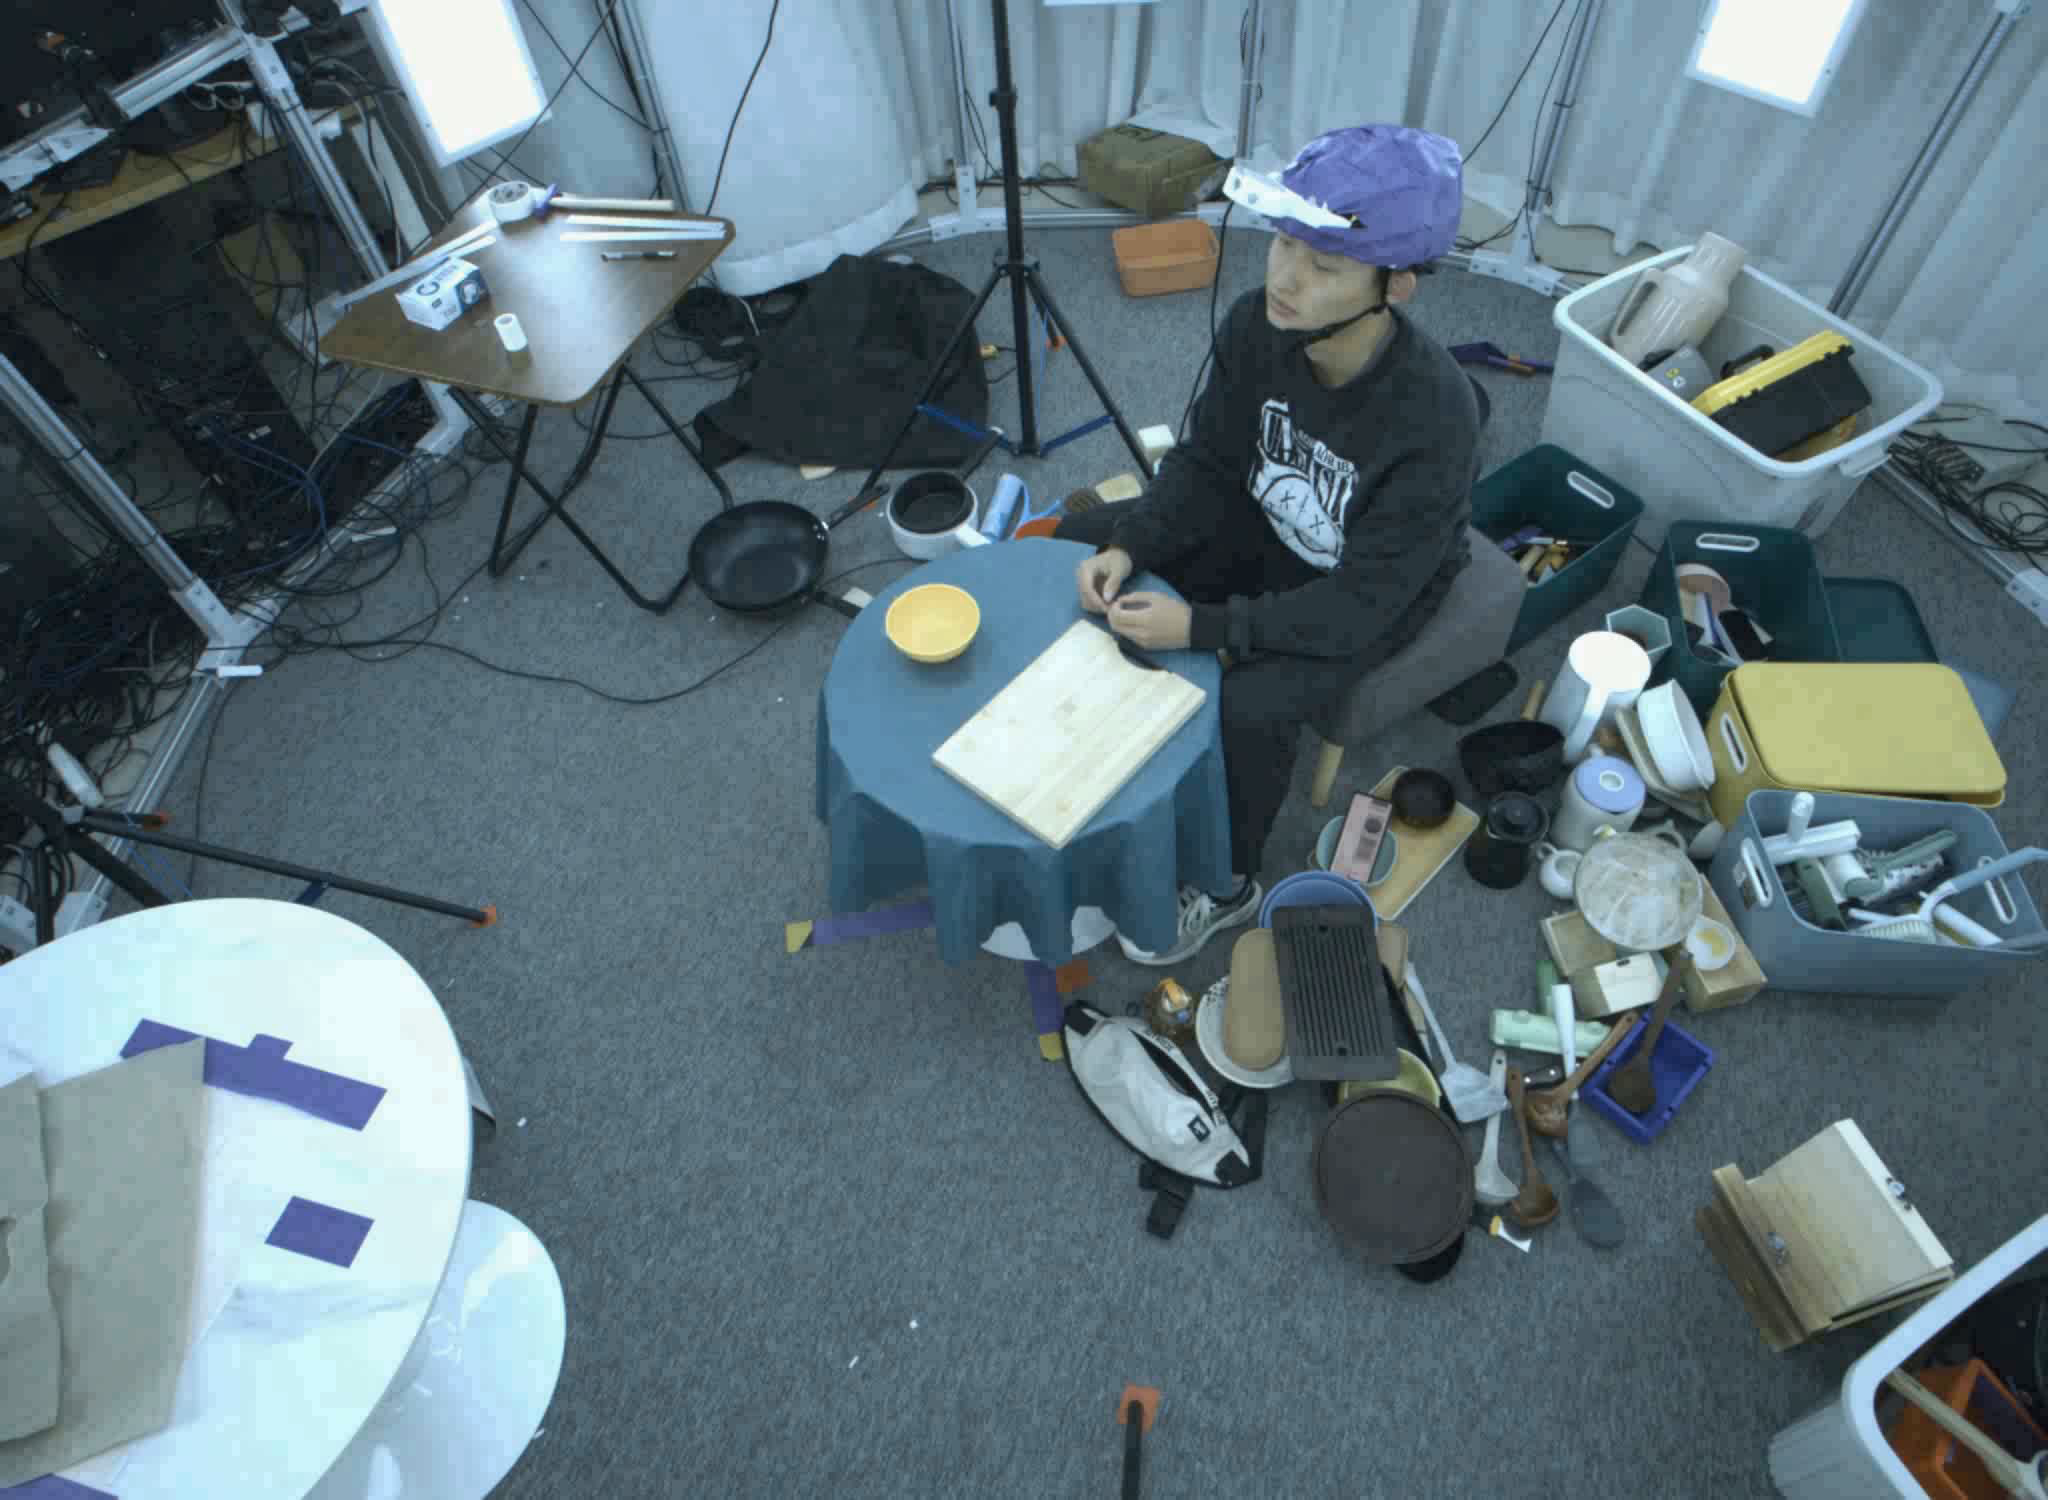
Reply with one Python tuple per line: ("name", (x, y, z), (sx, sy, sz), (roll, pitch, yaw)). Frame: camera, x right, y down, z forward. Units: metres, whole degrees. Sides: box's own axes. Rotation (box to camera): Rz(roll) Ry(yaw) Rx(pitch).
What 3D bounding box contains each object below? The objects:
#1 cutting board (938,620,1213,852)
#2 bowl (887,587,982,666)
("cutting board", (0.076, -0.031, 1.808), (0.246, 0.024, 0.350), (34, 62, 22))
("bowl", (-0.137, -0.179, 1.893), (0.145, 0.060, 0.144), (1, 56, 0))
